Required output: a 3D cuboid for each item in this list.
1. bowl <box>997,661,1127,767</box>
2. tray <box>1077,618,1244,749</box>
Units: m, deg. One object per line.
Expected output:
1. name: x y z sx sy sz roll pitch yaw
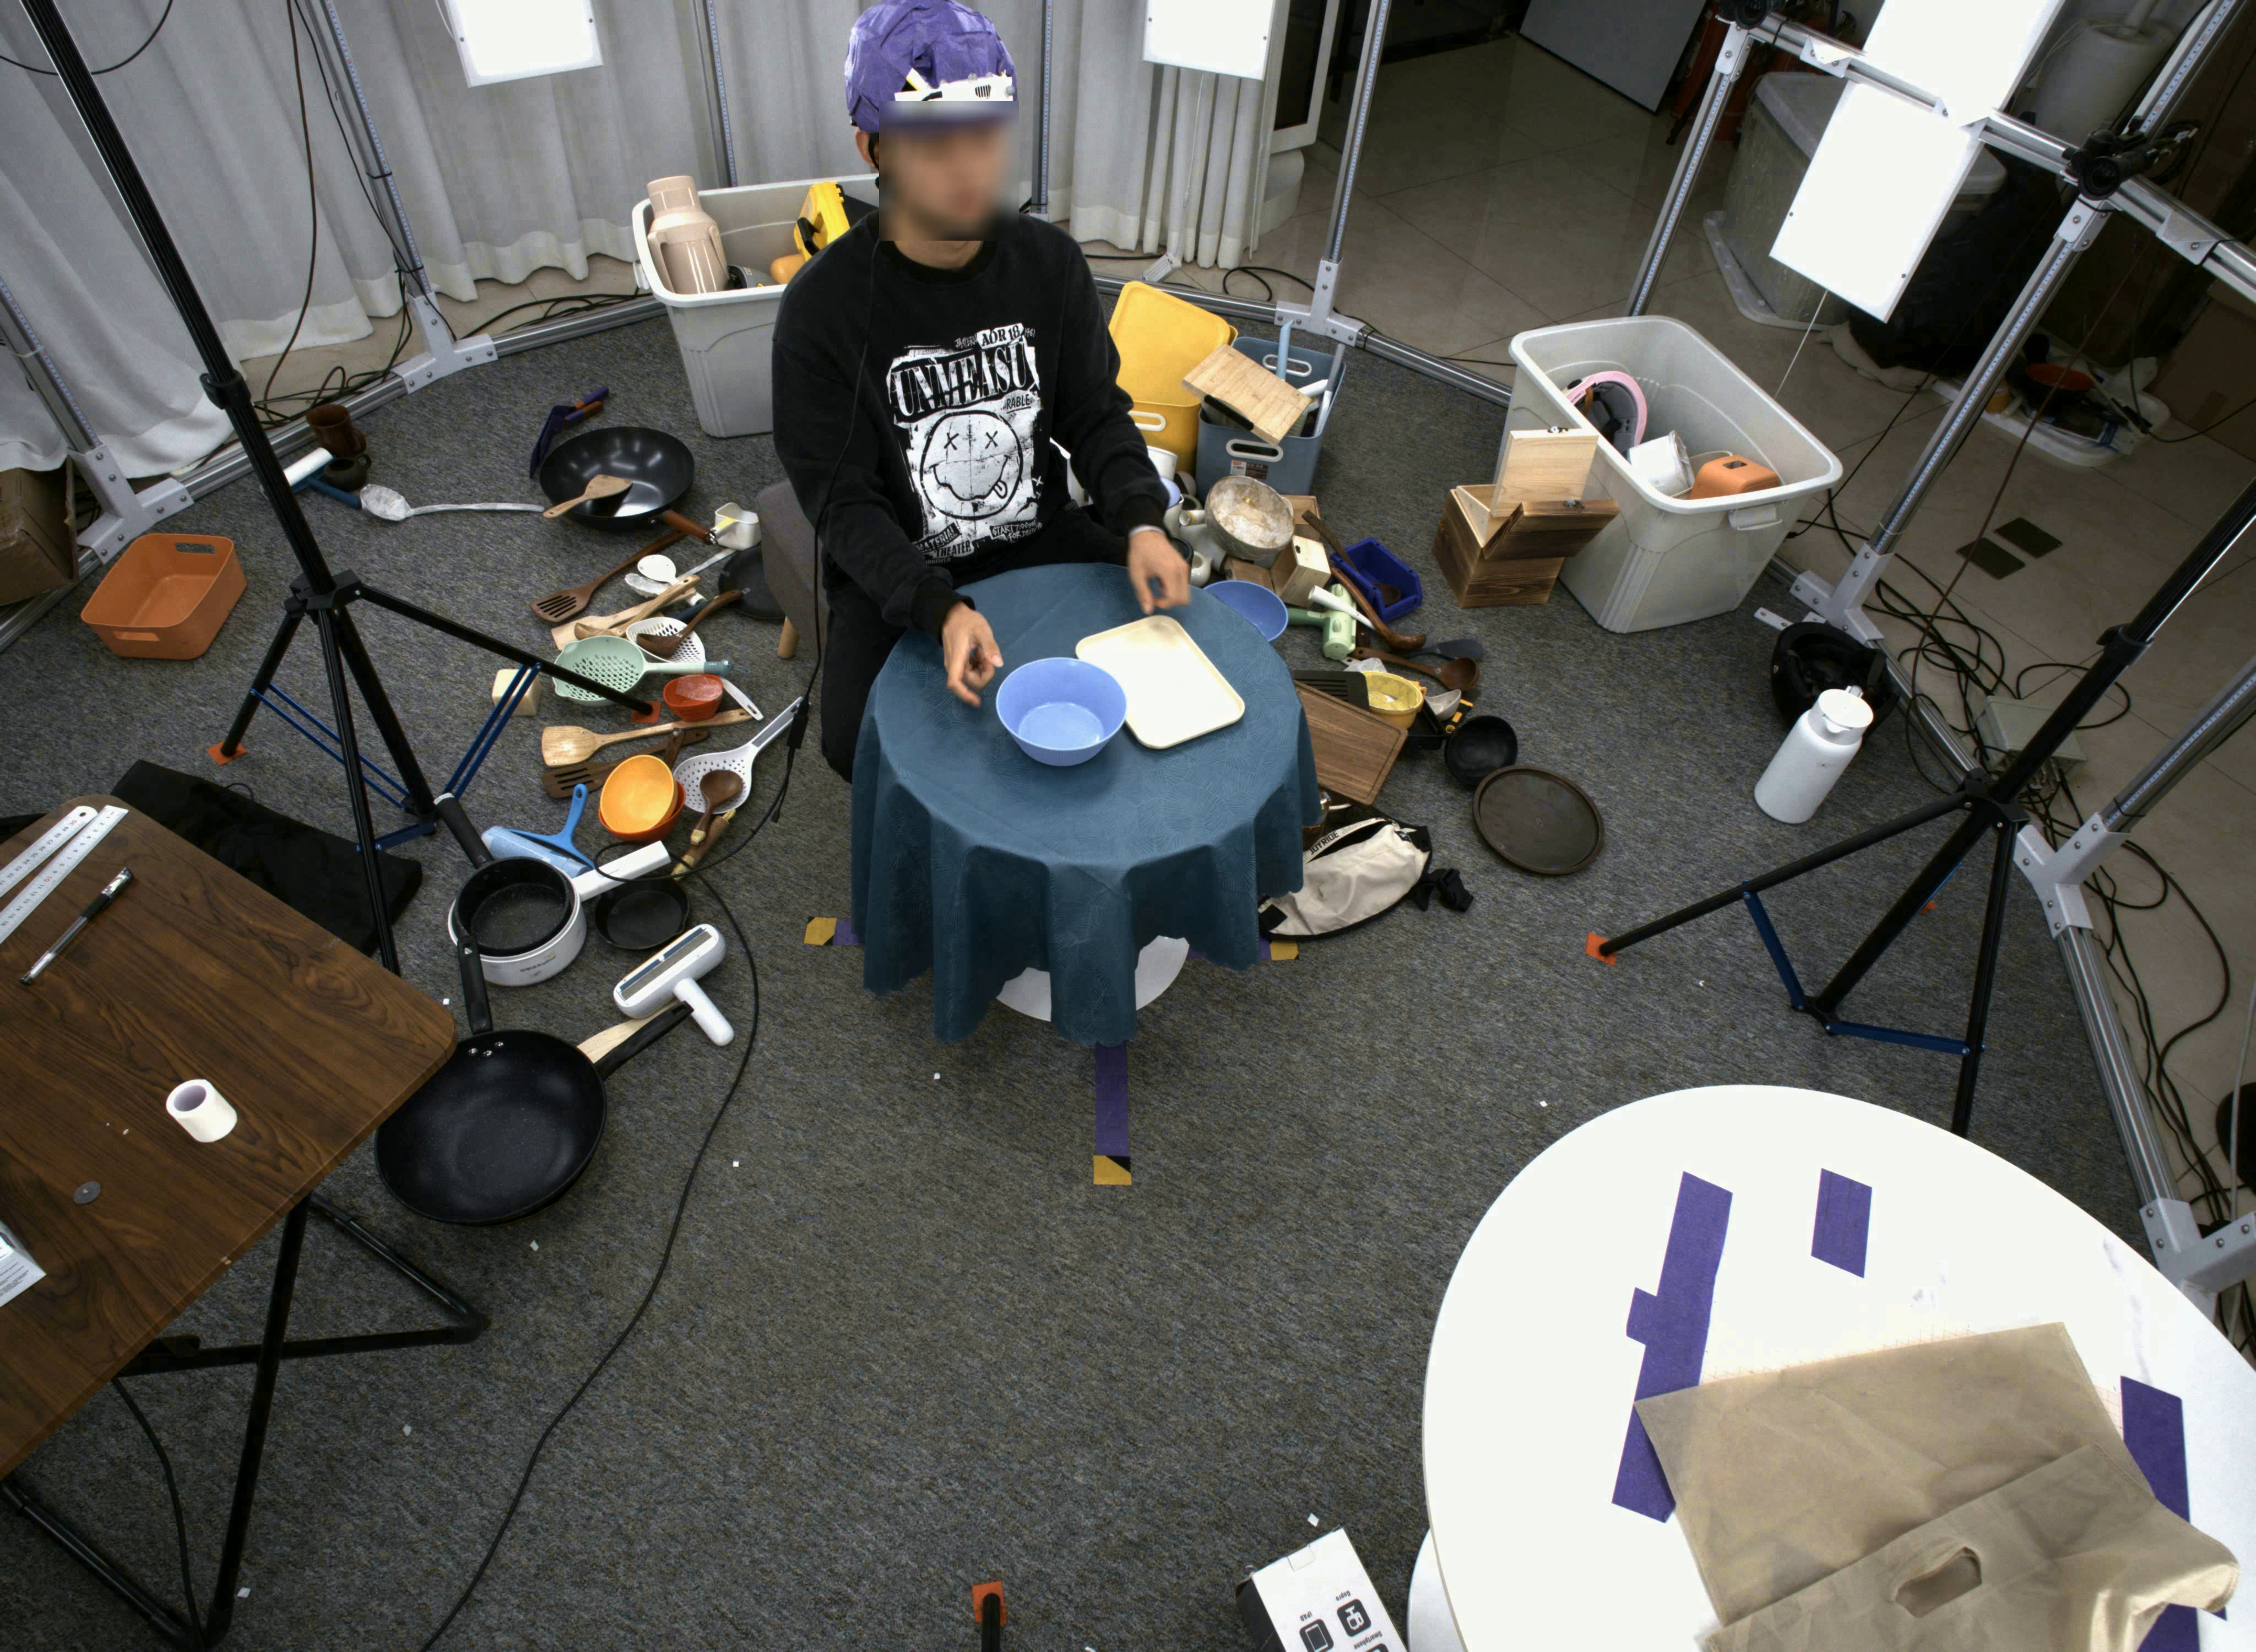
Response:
1. bowl: -0.091 -0.145 1.758 0.176 0.068 0.180 2 48 -3
2. tray: 0.045 -0.208 1.857 0.171 0.017 0.245 -20 53 -21
